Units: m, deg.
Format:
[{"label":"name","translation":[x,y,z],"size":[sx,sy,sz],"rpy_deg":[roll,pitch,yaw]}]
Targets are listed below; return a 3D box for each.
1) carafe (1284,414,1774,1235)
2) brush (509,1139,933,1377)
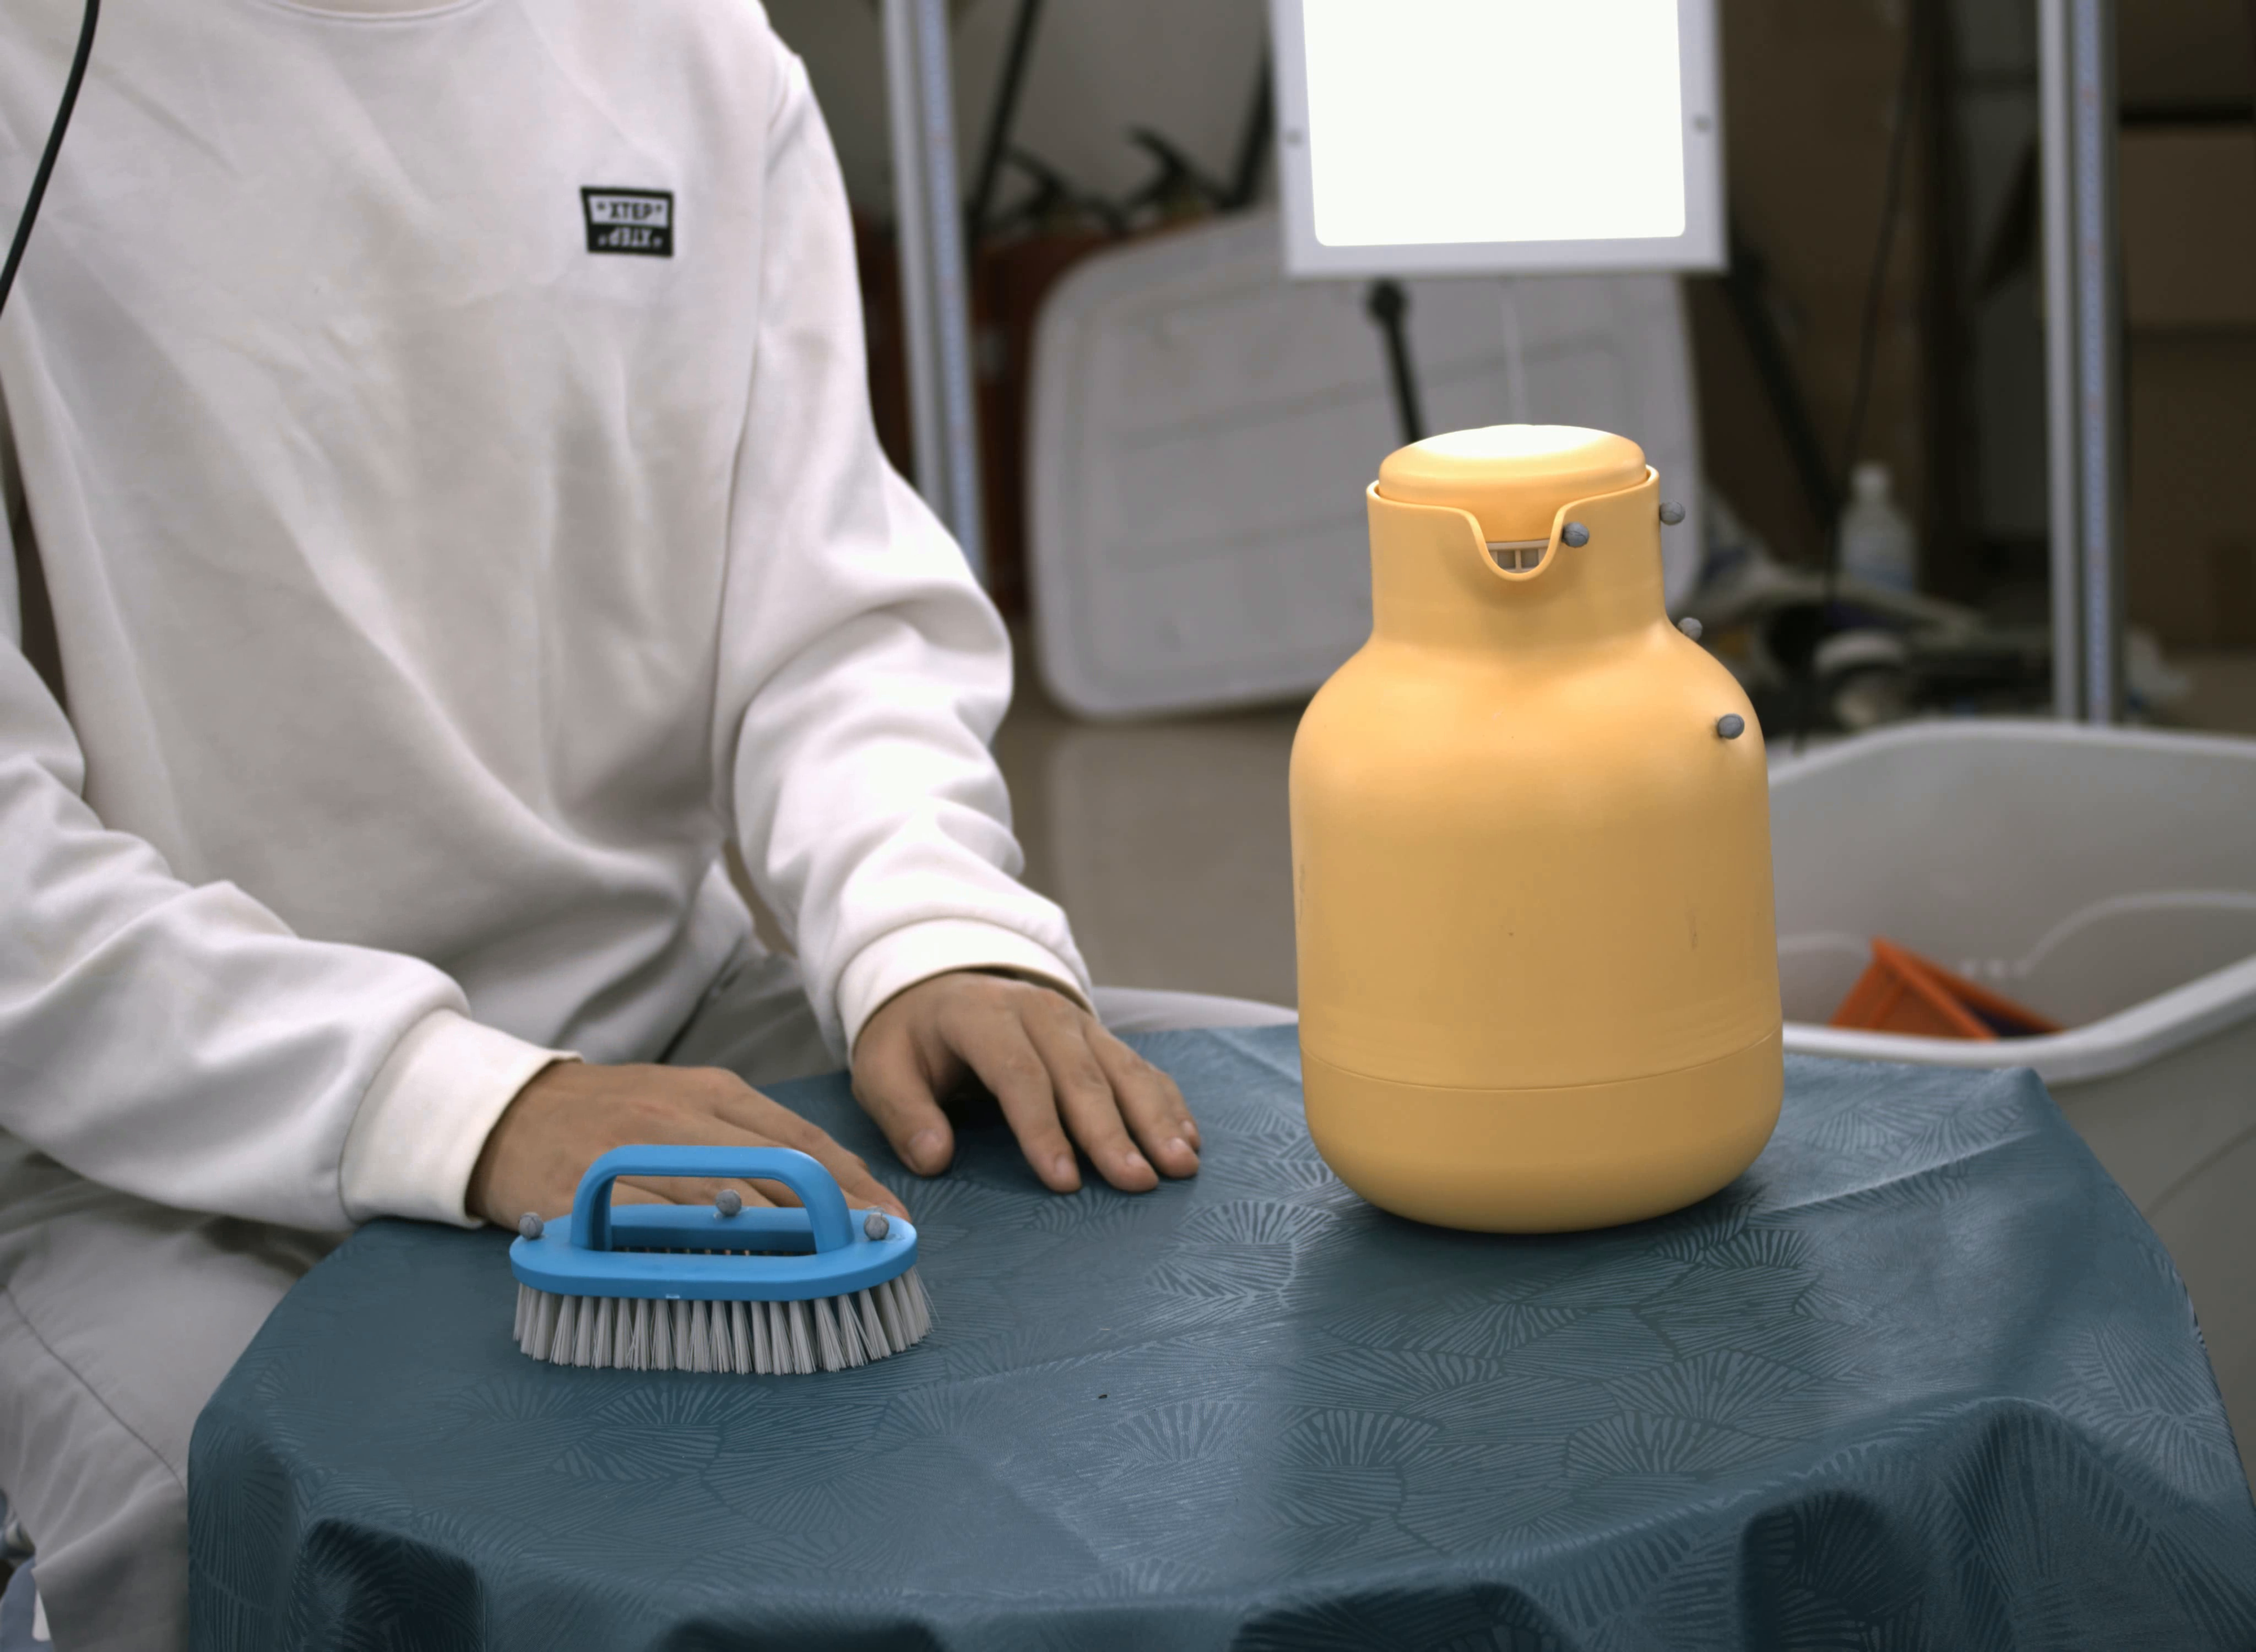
[{"label":"carafe","translation":[0.136,-0.009,1.853],"size":[0.164,0.261,0.201],"rpy_deg":[-1,15,6]},{"label":"brush","translation":[-0.135,0.133,1.783],"size":[0.144,0.064,0.083],"rpy_deg":[0,19,22]}]
